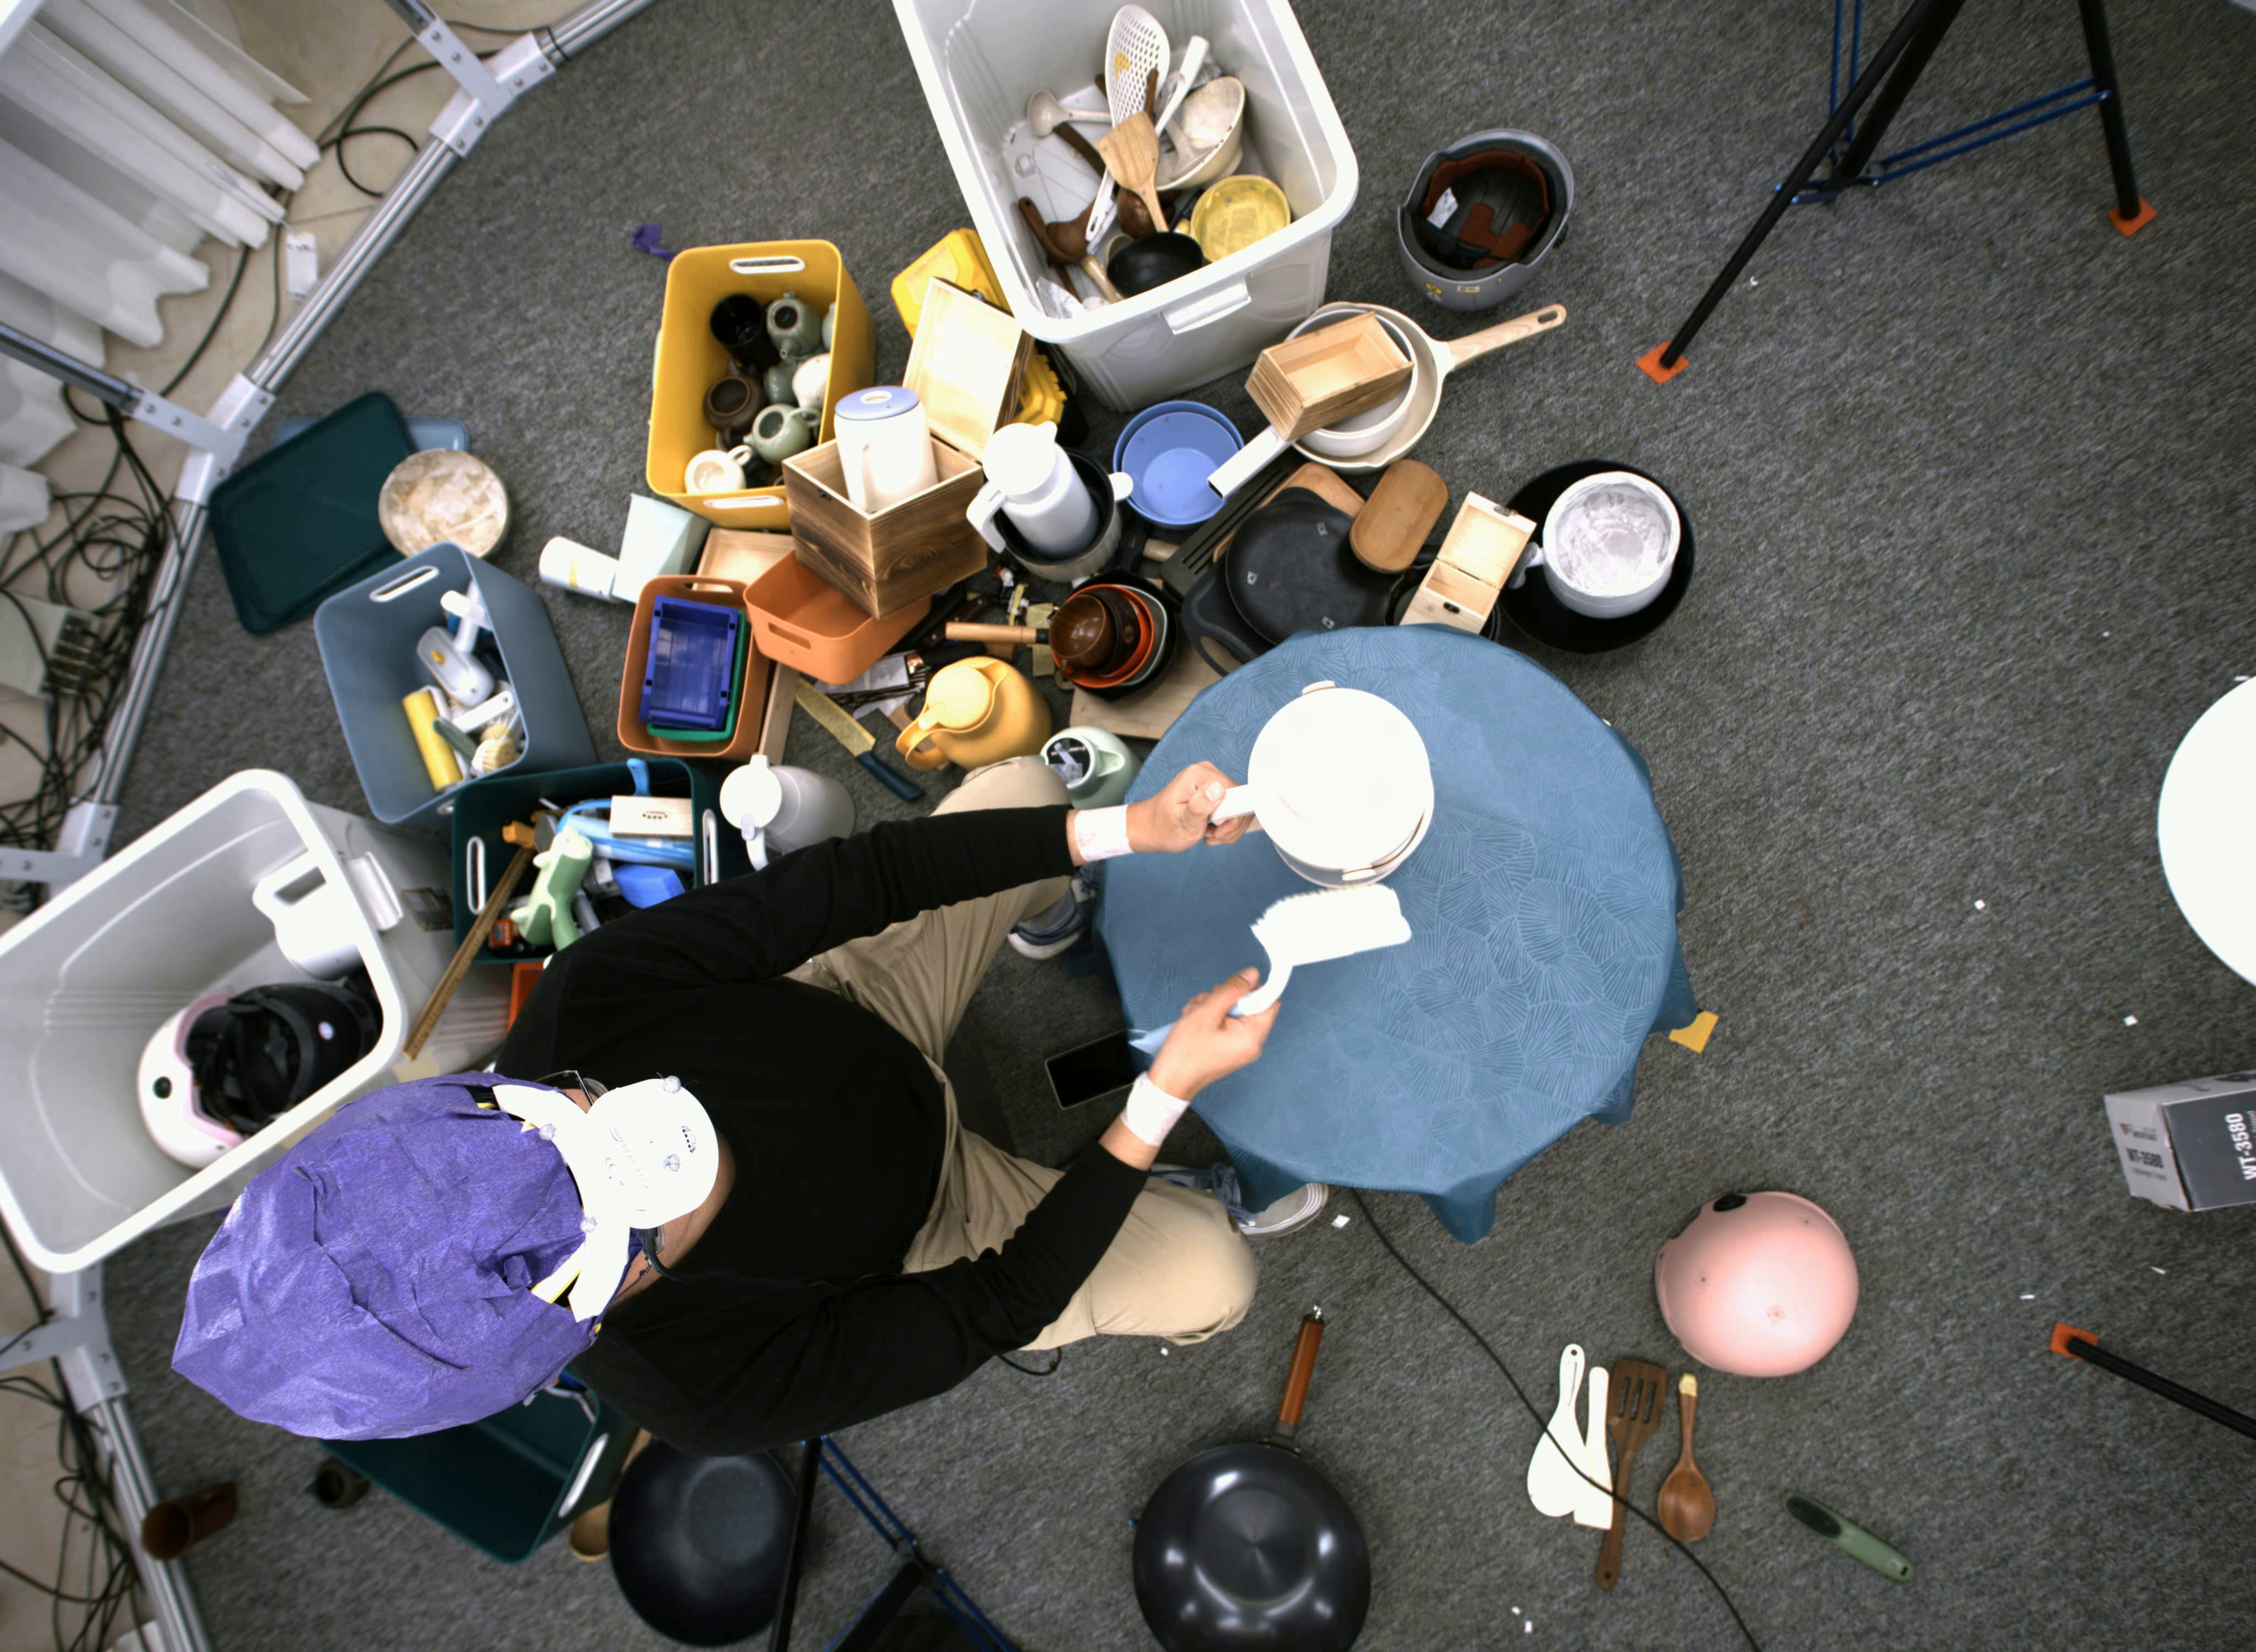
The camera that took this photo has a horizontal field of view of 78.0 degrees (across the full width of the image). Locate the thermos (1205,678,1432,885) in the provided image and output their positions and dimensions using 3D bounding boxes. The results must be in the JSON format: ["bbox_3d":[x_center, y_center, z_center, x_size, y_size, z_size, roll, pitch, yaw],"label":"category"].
[{"bbox_3d":[0.181,-0.034,1.281,0.208,0.406,0.174,-13,84,8],"label":"thermos"}]

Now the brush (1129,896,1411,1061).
[{"bbox_3d":[0.107,0.132,1.275,0.331,0.083,0.083,-27,62,35],"label":"brush"}]
